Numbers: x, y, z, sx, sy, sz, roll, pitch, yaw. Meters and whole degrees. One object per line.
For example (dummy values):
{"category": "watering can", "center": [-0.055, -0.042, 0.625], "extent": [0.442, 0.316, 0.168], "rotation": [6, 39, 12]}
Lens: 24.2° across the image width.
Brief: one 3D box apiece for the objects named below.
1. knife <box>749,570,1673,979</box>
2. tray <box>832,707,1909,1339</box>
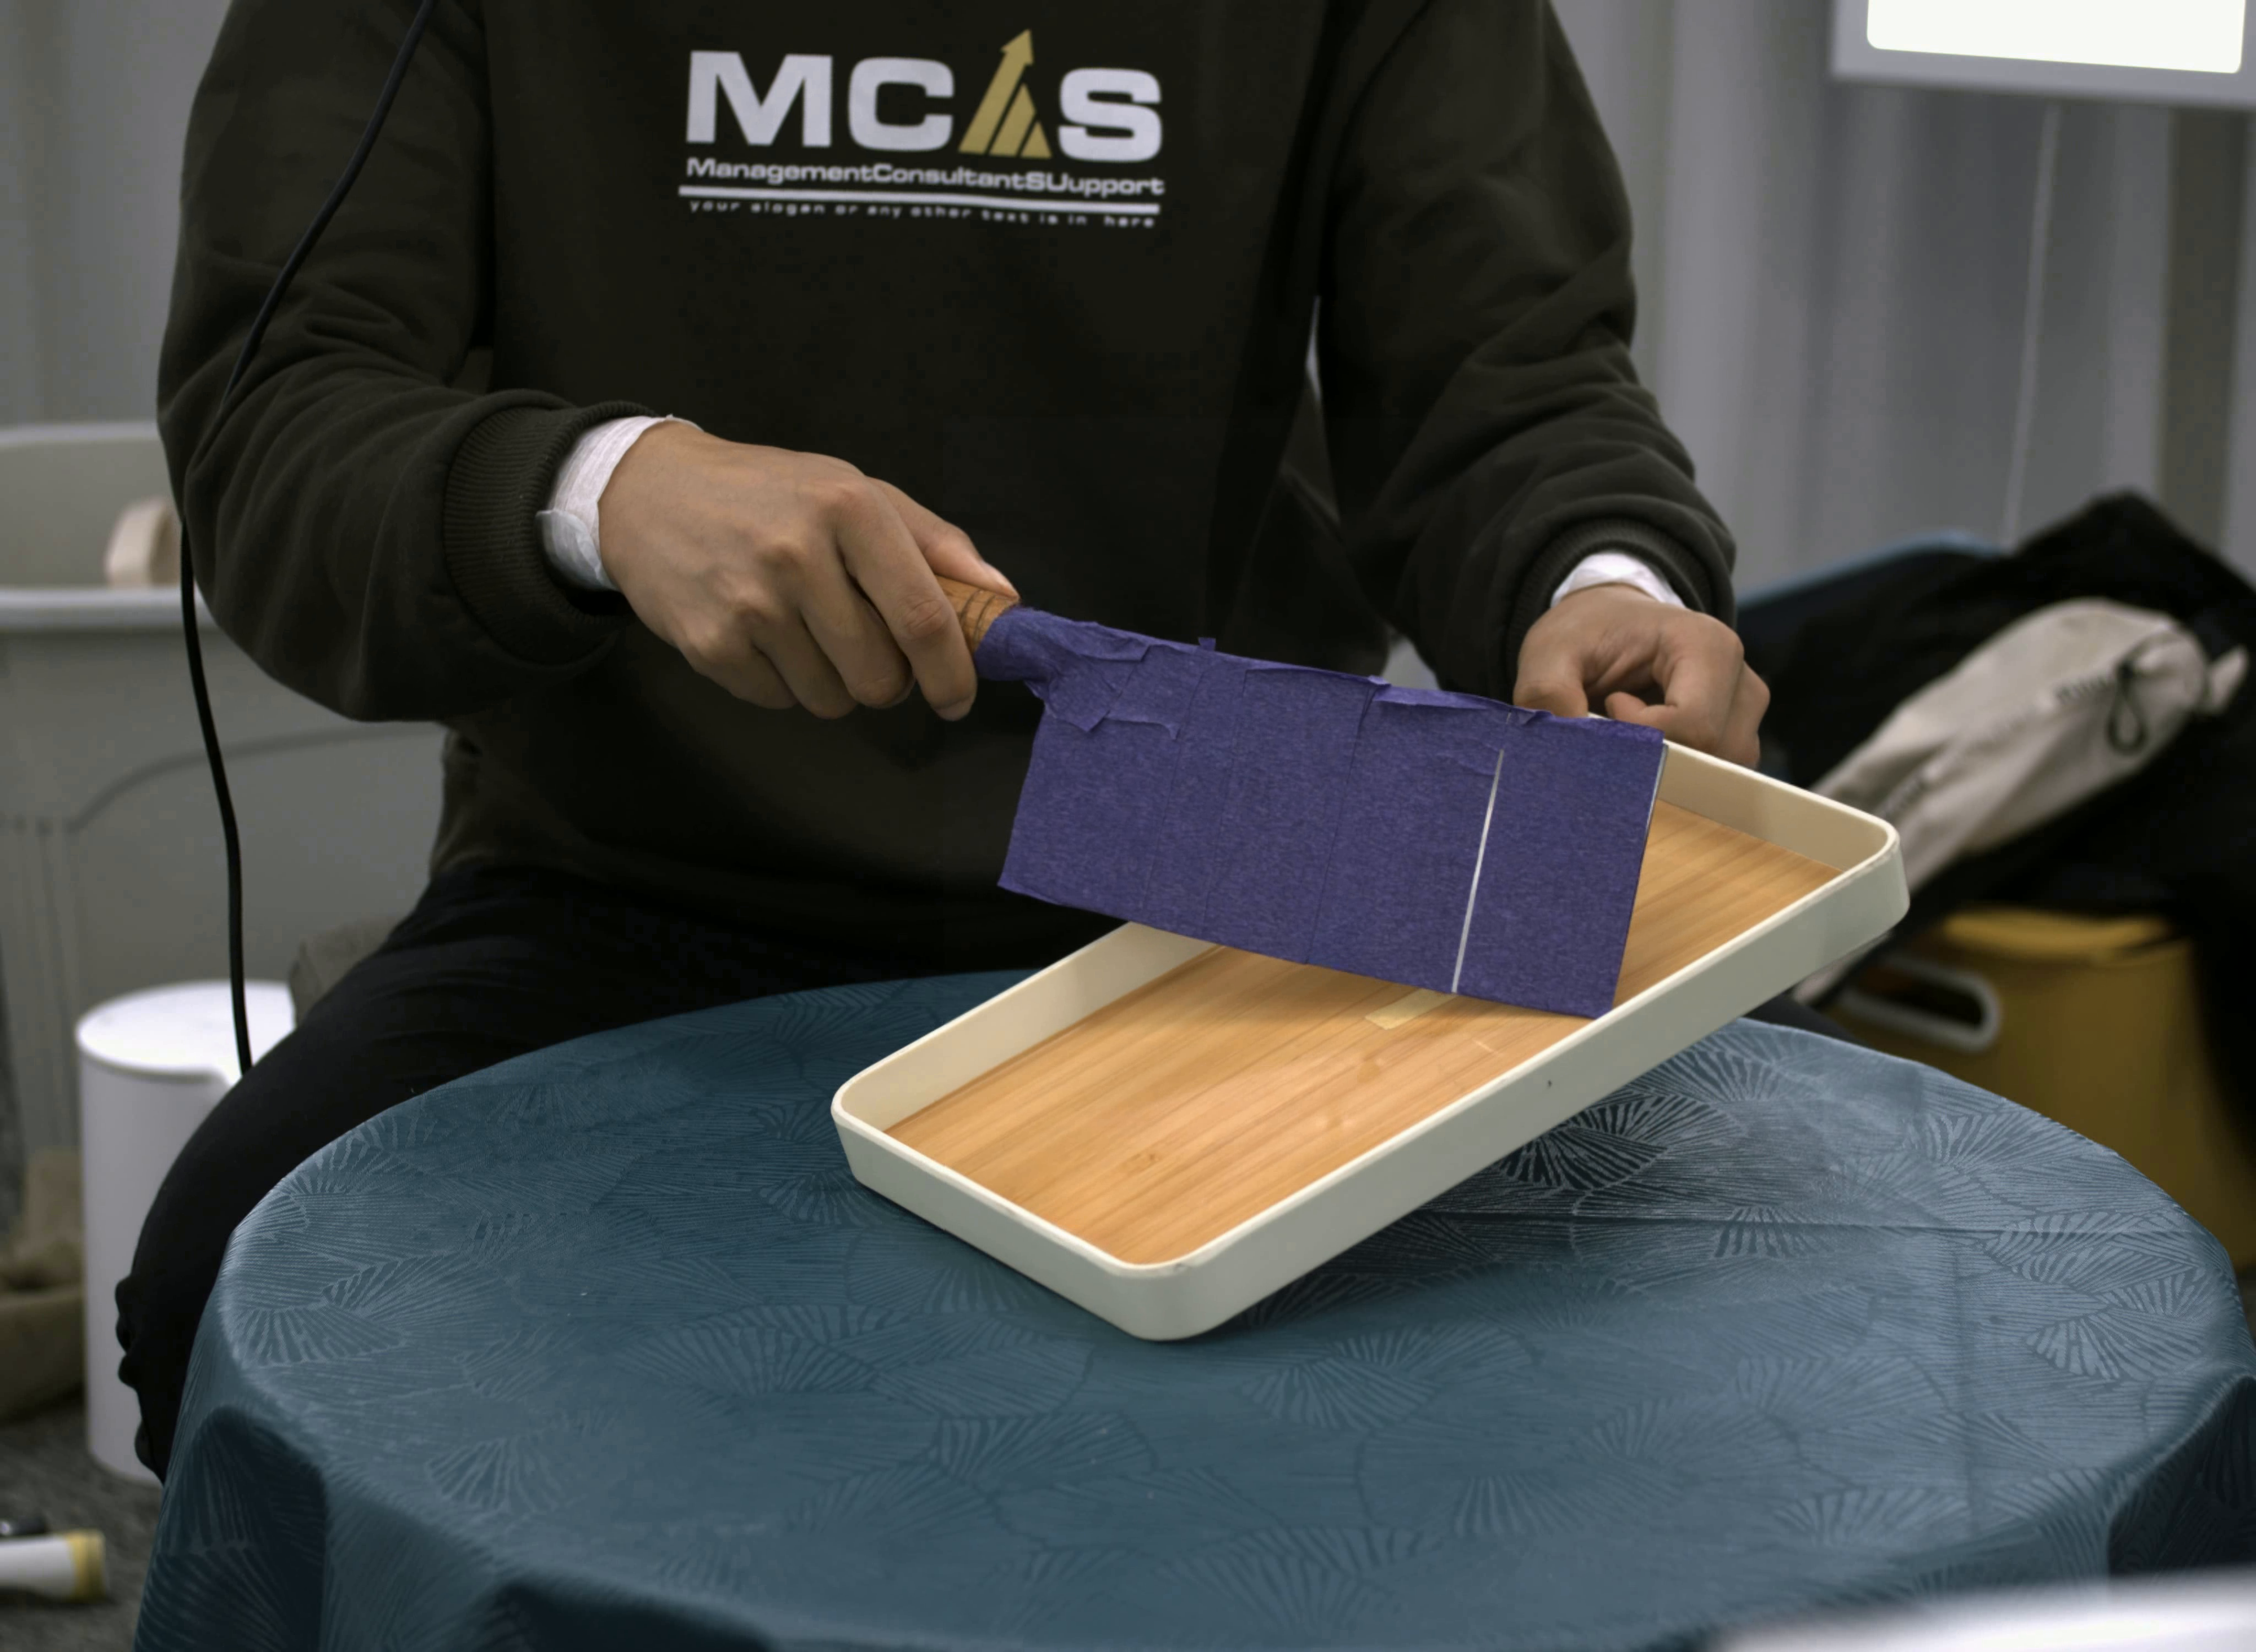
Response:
{"category": "knife", "center": [0.015, -0.016, 1.649], "extent": [0.312, 0.104, 0.032], "rotation": [10, -6, 24]}
{"category": "tray", "center": [0.075, 0.054, 1.622], "extent": [0.300, 0.028, 0.189], "rotation": [-28, 28, -25]}
